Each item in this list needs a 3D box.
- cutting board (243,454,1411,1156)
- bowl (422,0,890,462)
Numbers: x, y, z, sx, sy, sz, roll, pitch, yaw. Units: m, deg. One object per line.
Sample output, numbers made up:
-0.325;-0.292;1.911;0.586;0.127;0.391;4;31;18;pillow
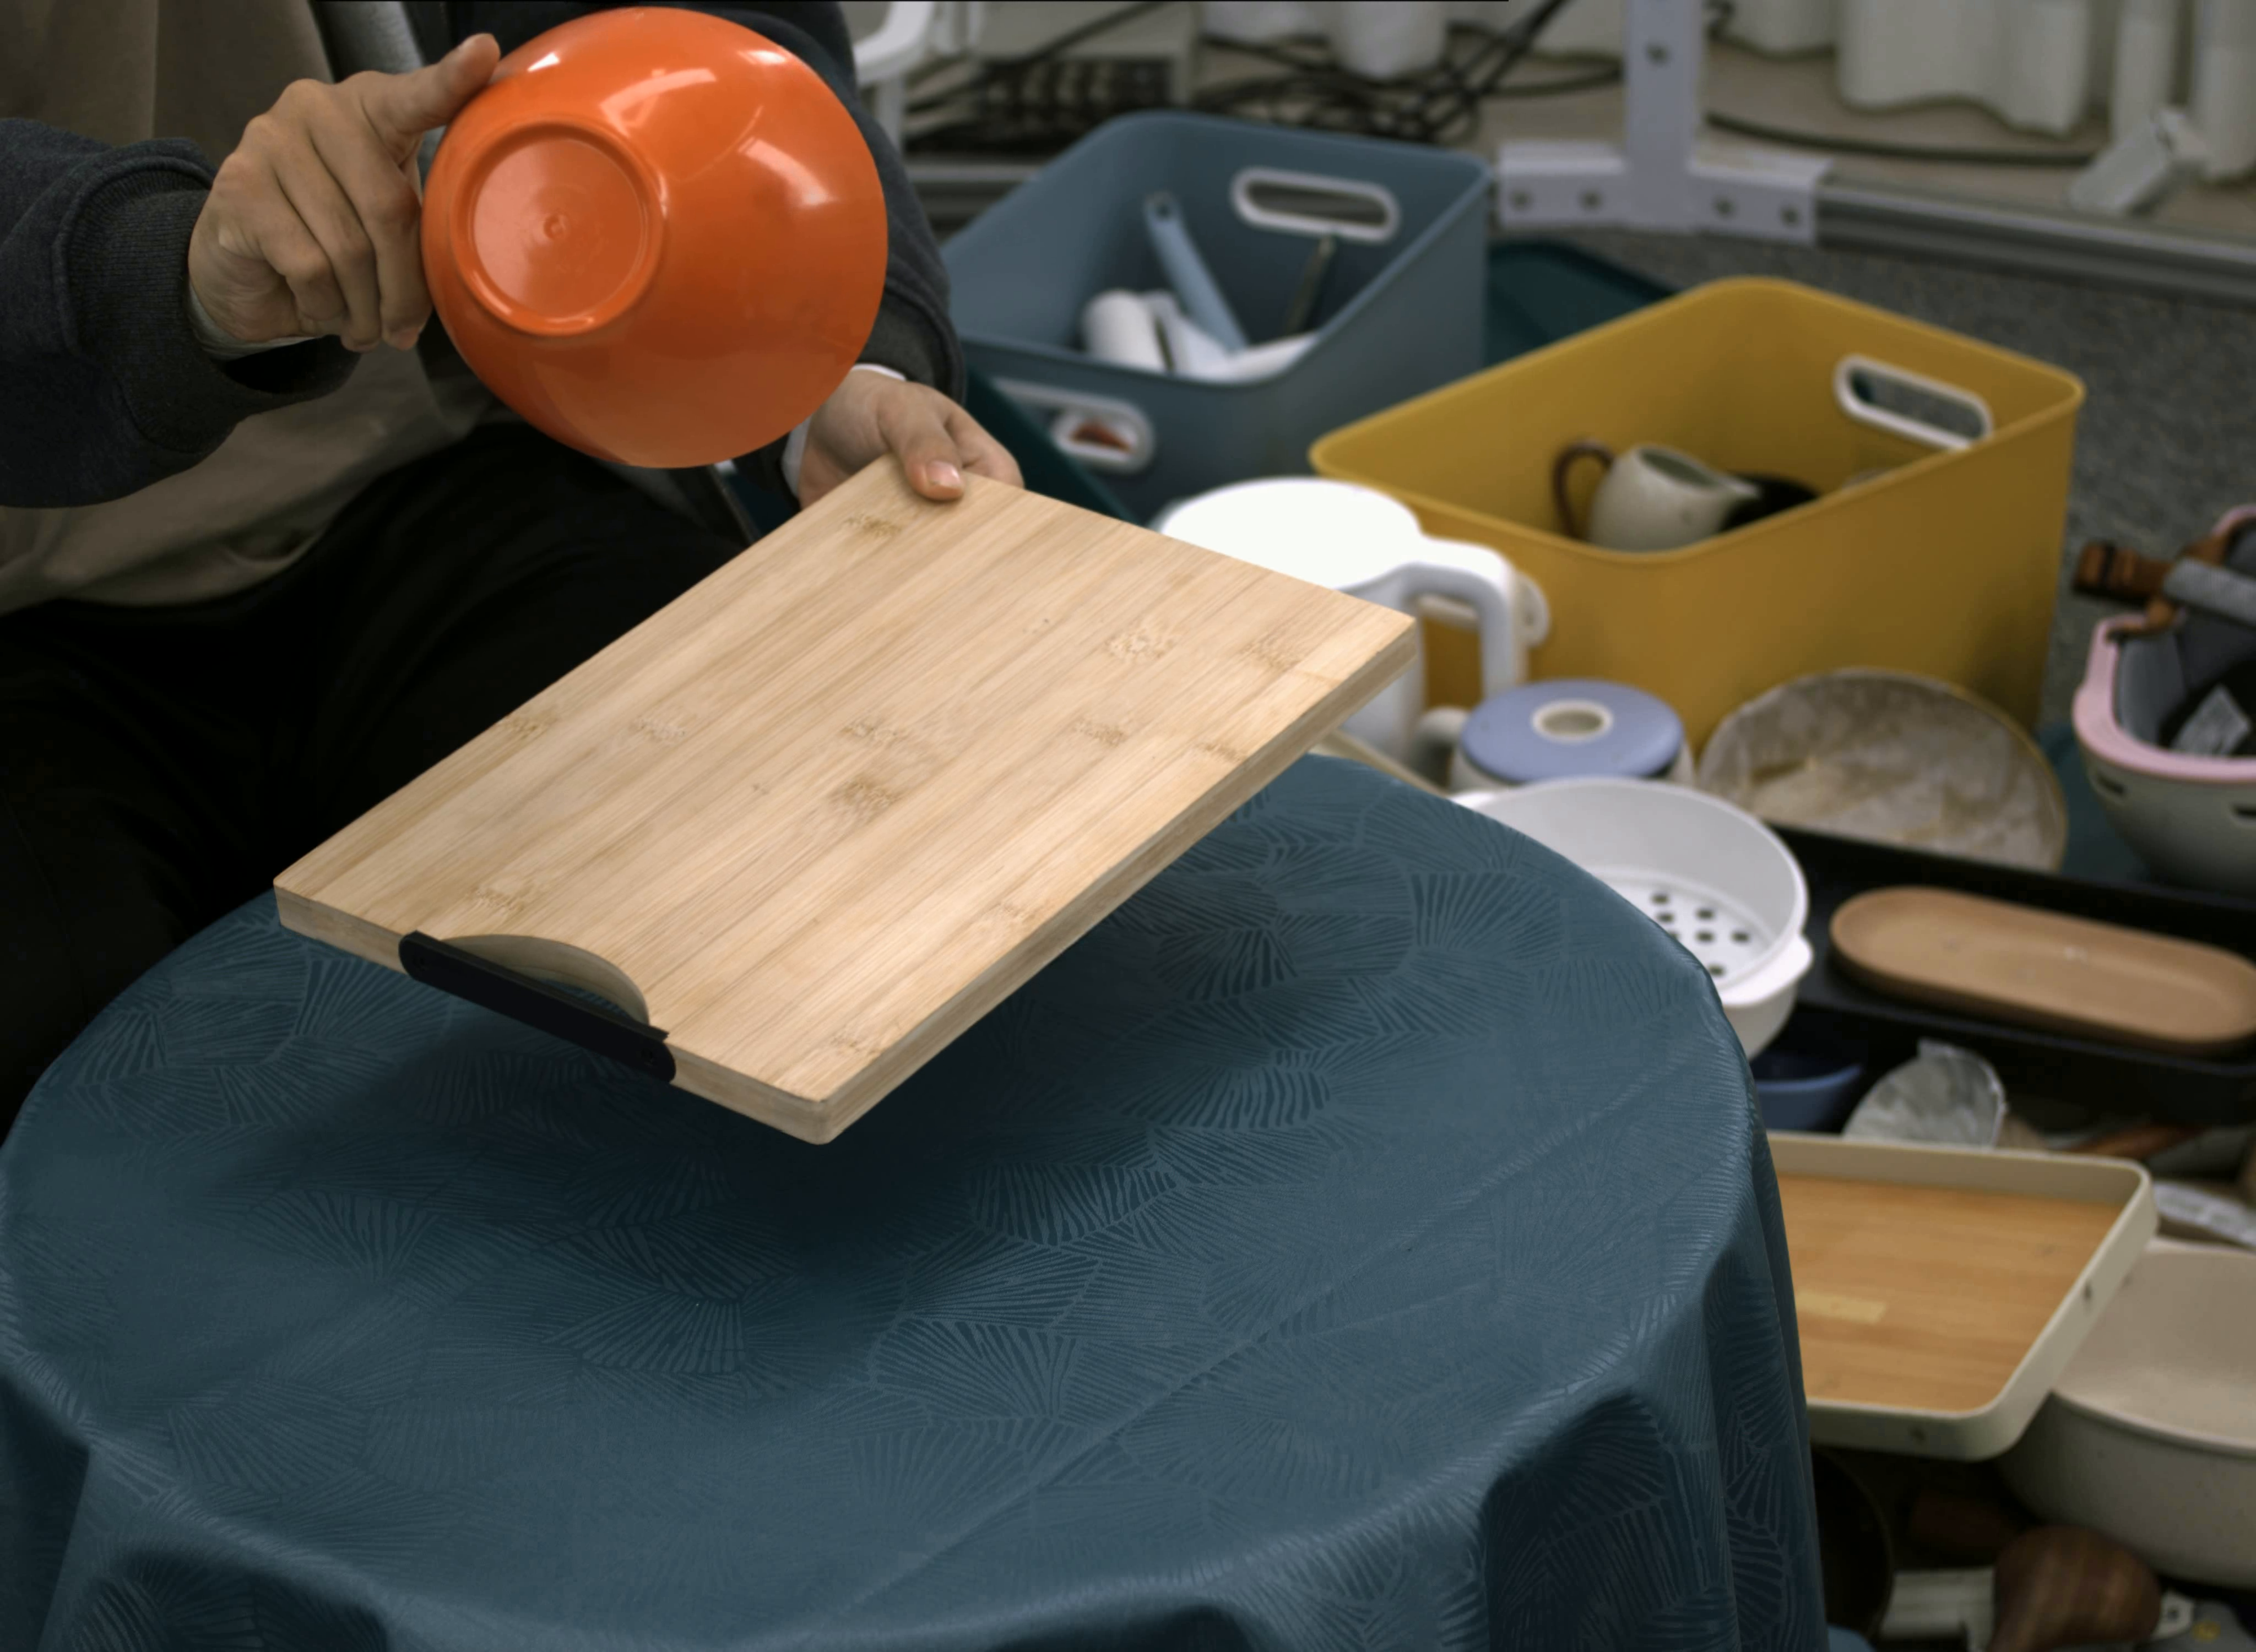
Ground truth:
-0.096;-0.017;1.935;0.250;0.023;0.354;18;38;31;cutting board
-0.156;-0.183;1.759;0.147;0.148;0.105;3;8;10;bowl
